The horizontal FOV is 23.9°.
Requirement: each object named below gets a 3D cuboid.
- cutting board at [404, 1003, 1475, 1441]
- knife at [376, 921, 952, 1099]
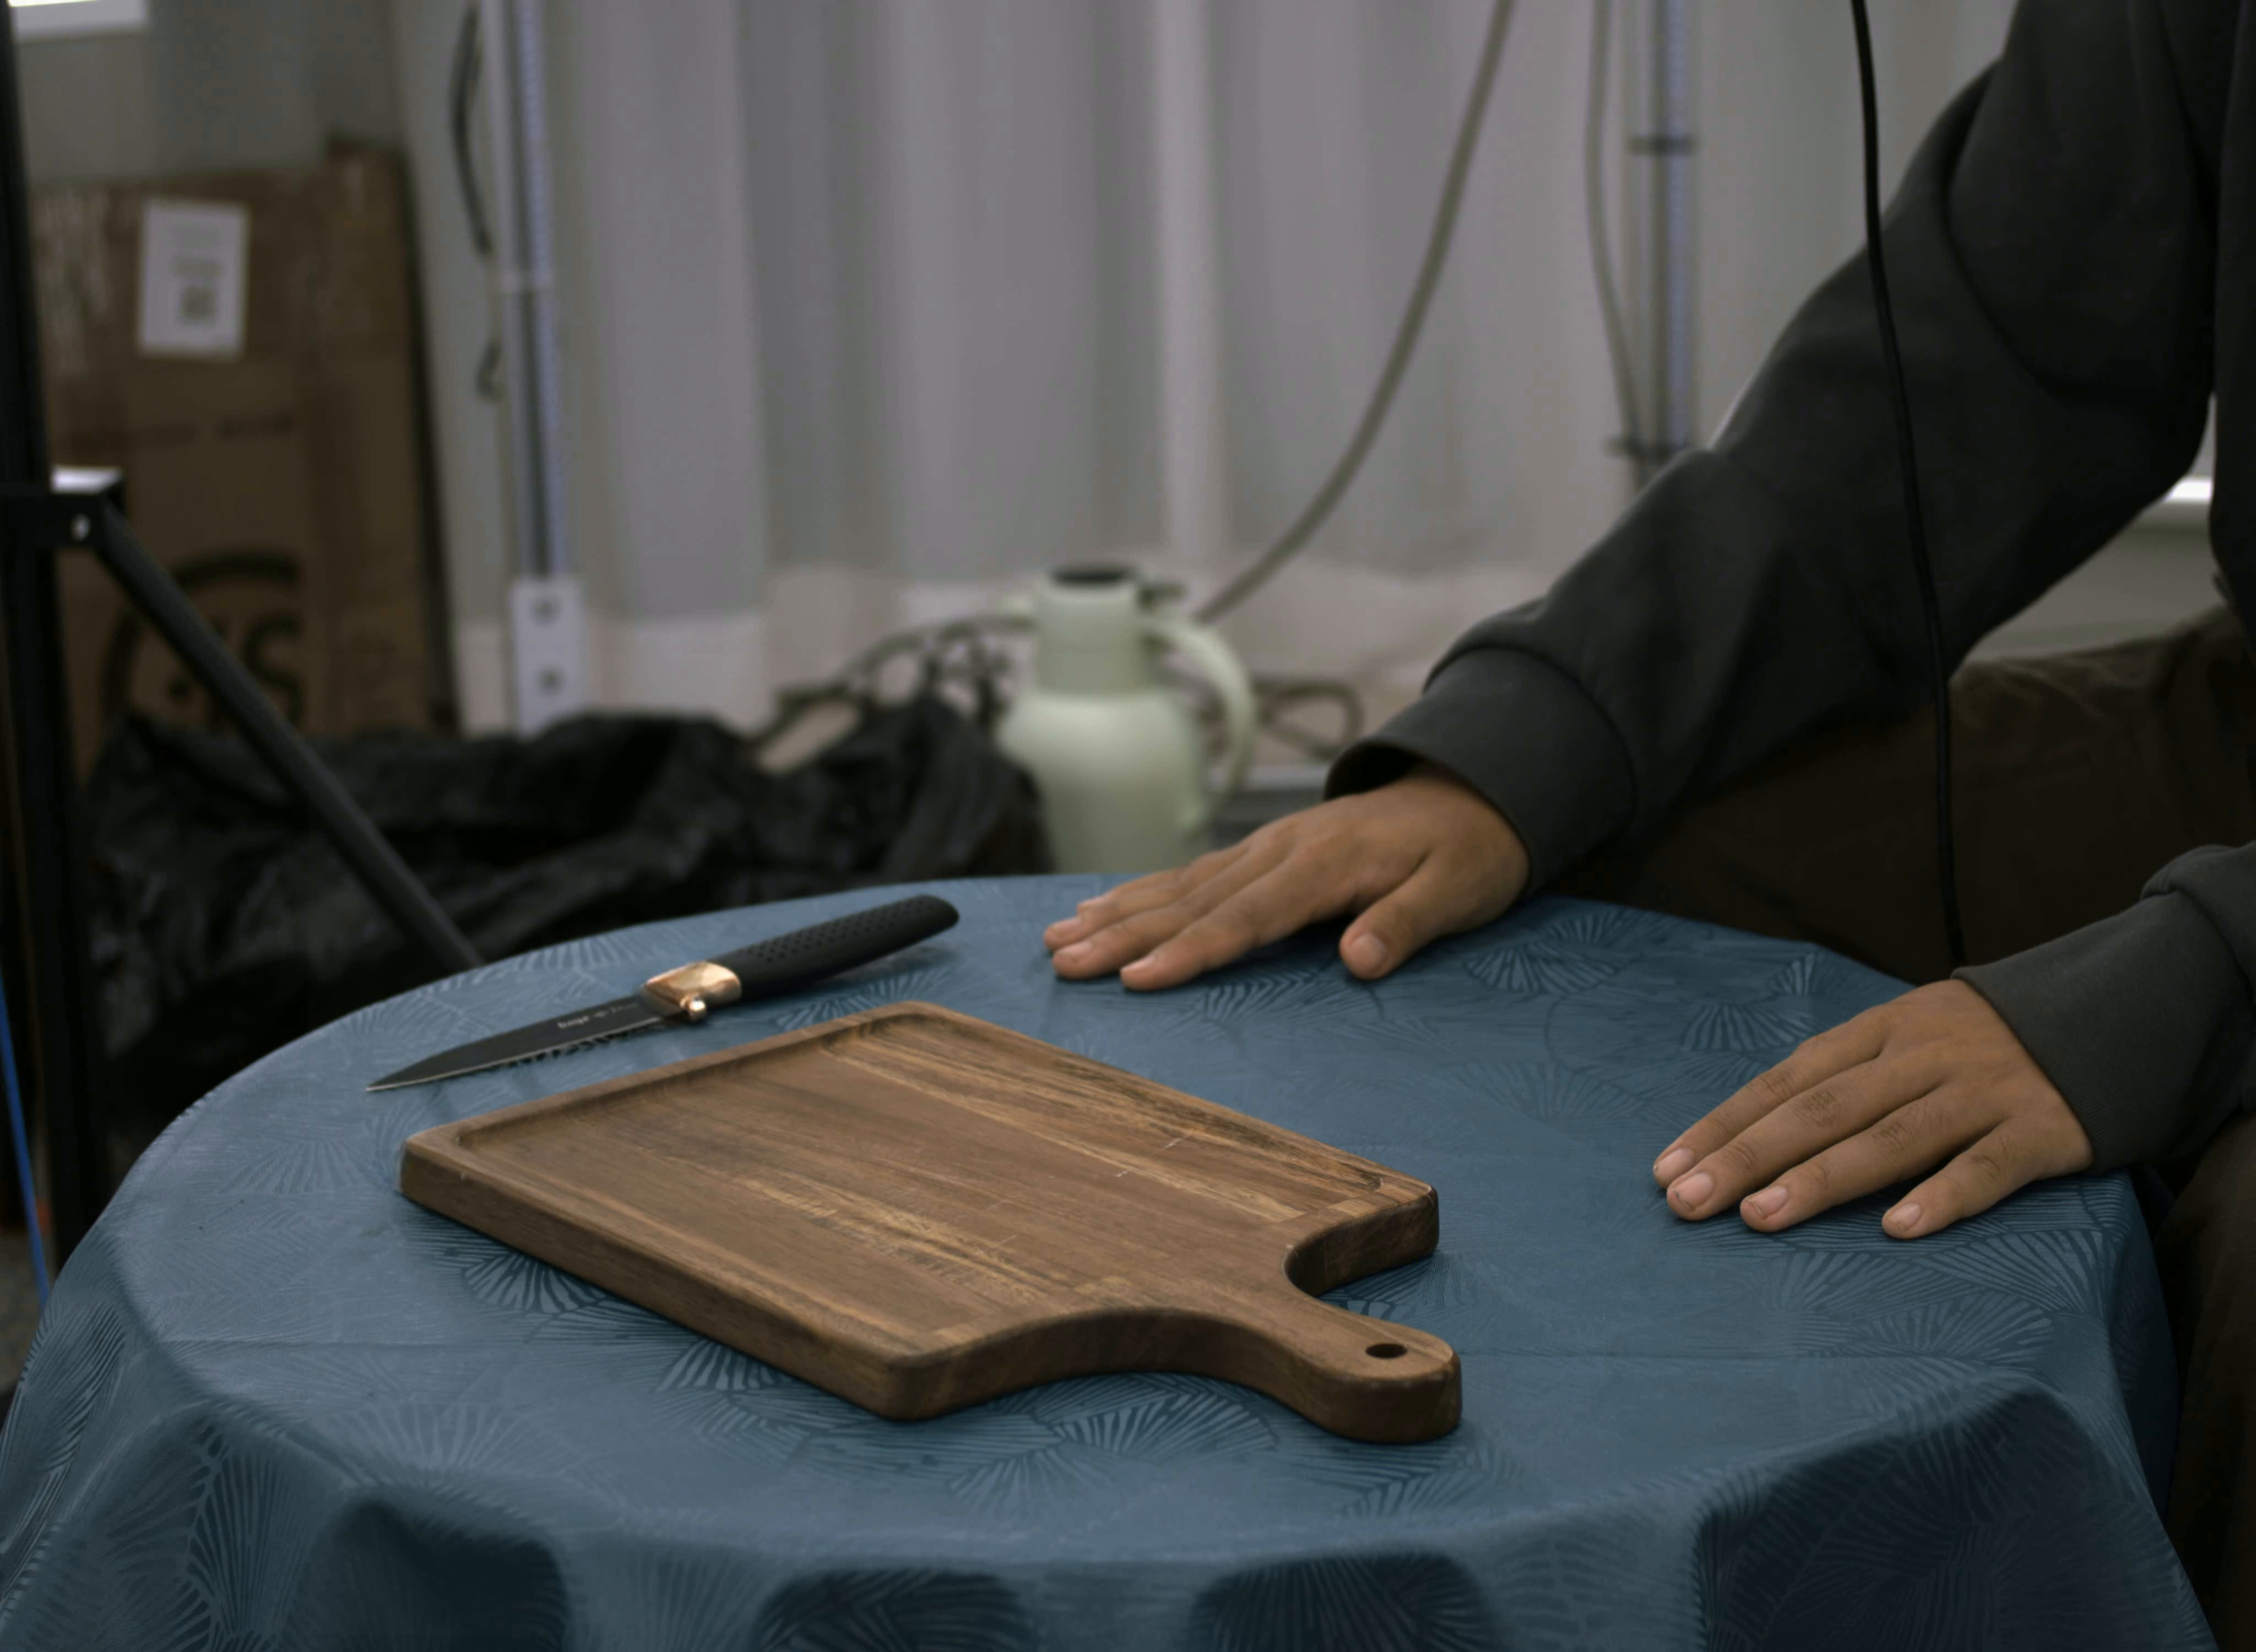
[{"bbox_3d":[-0.030,0.116,1.497,0.196,0.023,0.360,-15,20,-36],"label":"cutting board"},{"bbox_3d":[-0.148,0.060,1.730,0.220,0.017,0.027,-14,24,-33],"label":"knife"}]
